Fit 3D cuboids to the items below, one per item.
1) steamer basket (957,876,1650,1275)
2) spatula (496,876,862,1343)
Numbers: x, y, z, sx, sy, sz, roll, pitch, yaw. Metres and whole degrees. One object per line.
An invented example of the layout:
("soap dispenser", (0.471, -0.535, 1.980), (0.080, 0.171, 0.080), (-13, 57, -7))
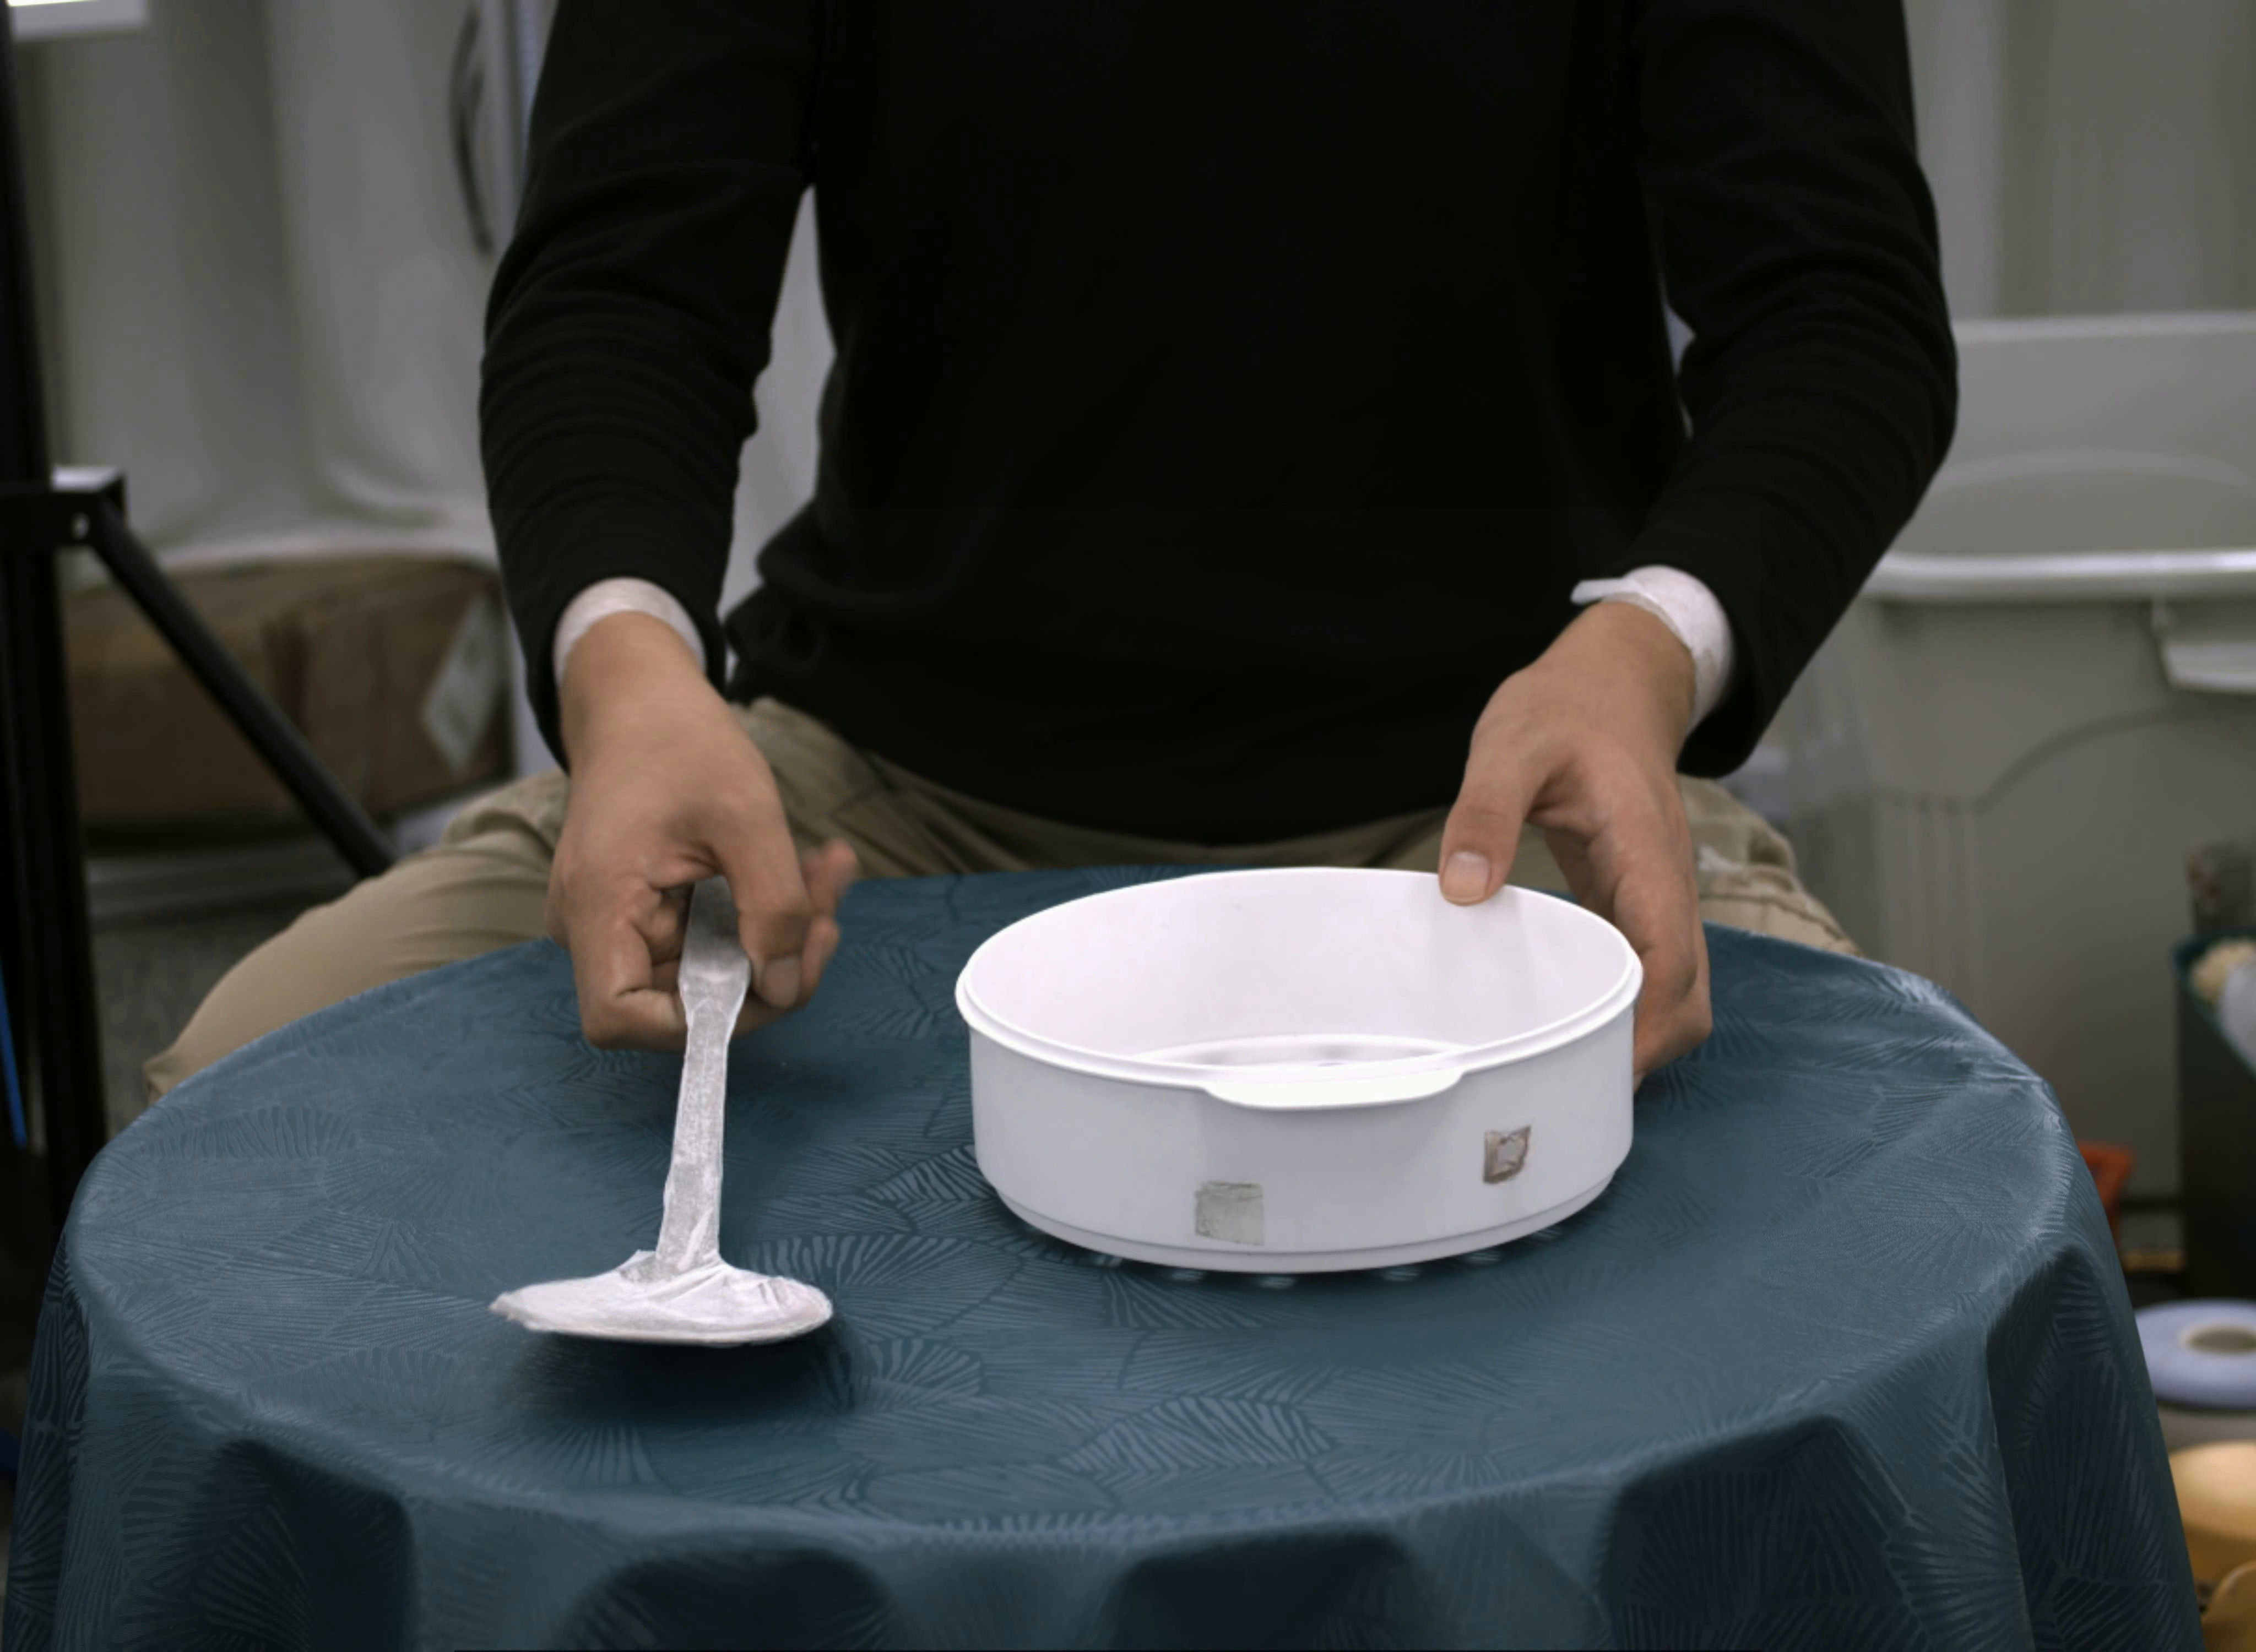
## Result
("steamer basket", (0.051, 0.072, 1.548), (0.200, 0.069, 0.232), (-2, 15, -2))
("spatula", (-0.121, 0.074, 1.565), (0.098, 0.045, 0.367), (2, 25, -1))
